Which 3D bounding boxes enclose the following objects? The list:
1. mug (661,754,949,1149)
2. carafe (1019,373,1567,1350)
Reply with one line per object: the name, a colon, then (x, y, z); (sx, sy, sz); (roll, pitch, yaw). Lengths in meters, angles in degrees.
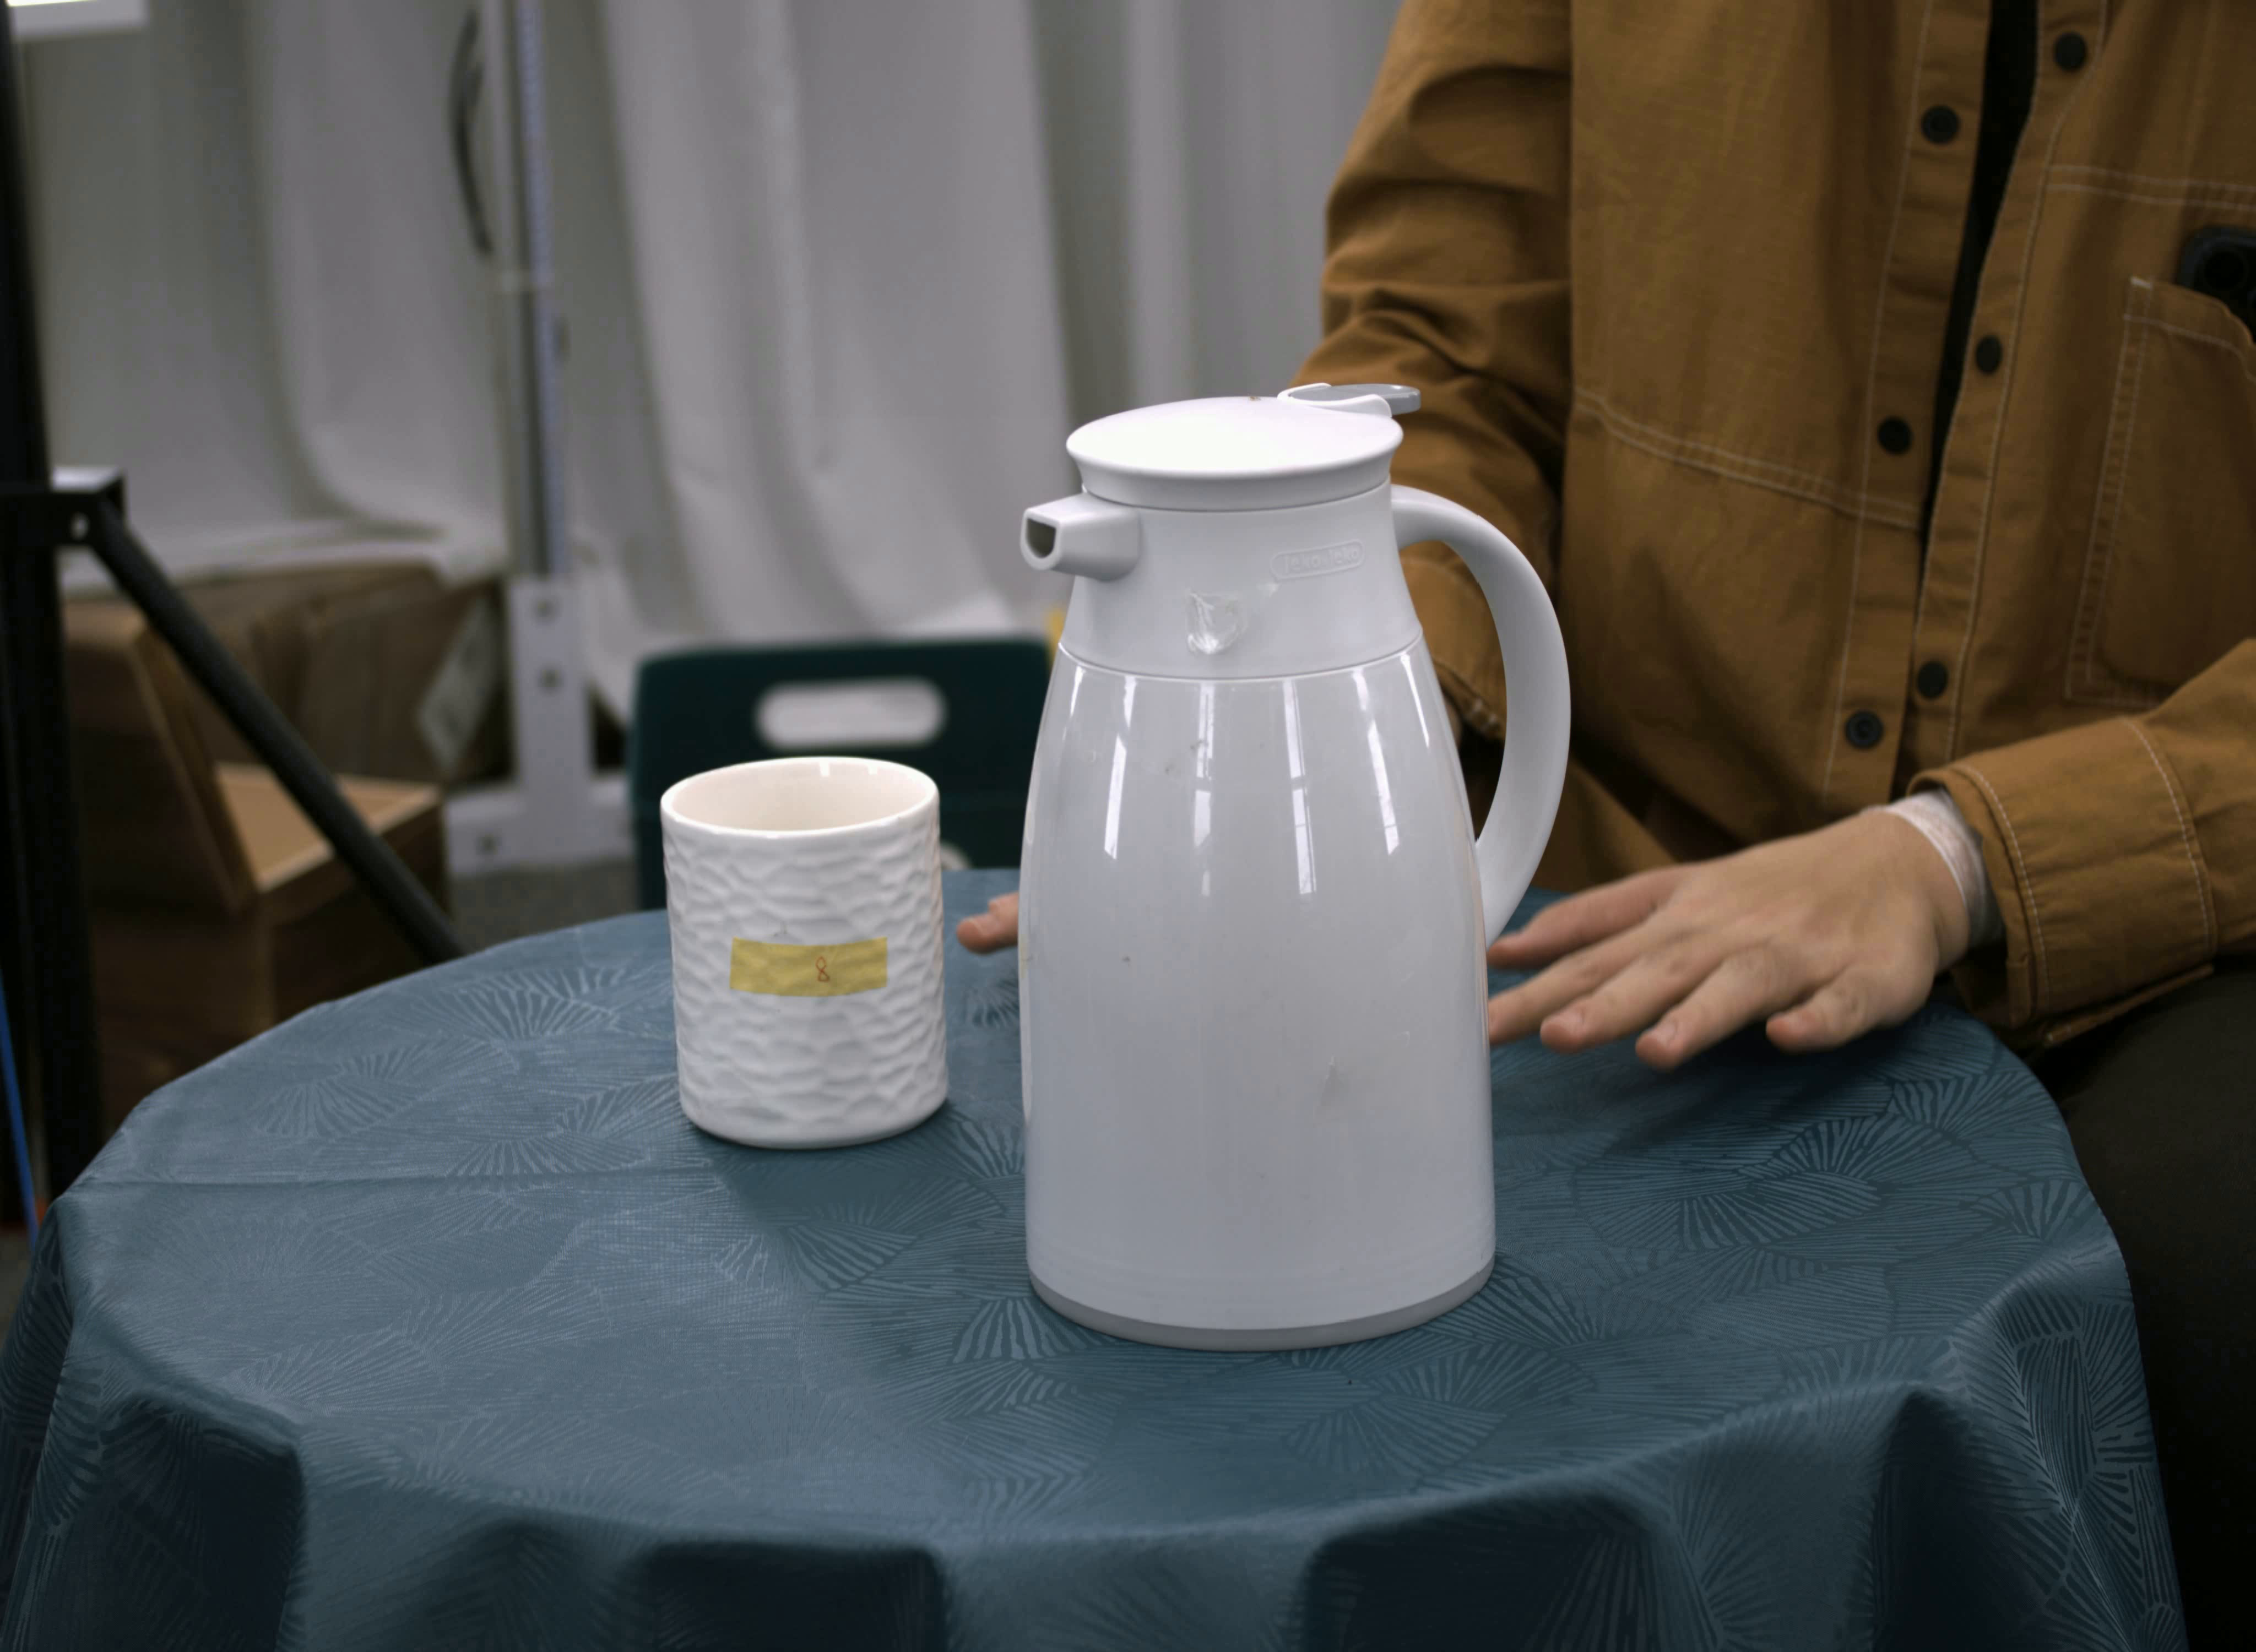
mug: (-0.093, 0.034, 1.644); (0.086, 0.102, 0.117); (3, 16, 17)
carafe: (0.049, 0.002, 1.468); (0.164, 0.248, 0.135); (-10, 16, -30)
